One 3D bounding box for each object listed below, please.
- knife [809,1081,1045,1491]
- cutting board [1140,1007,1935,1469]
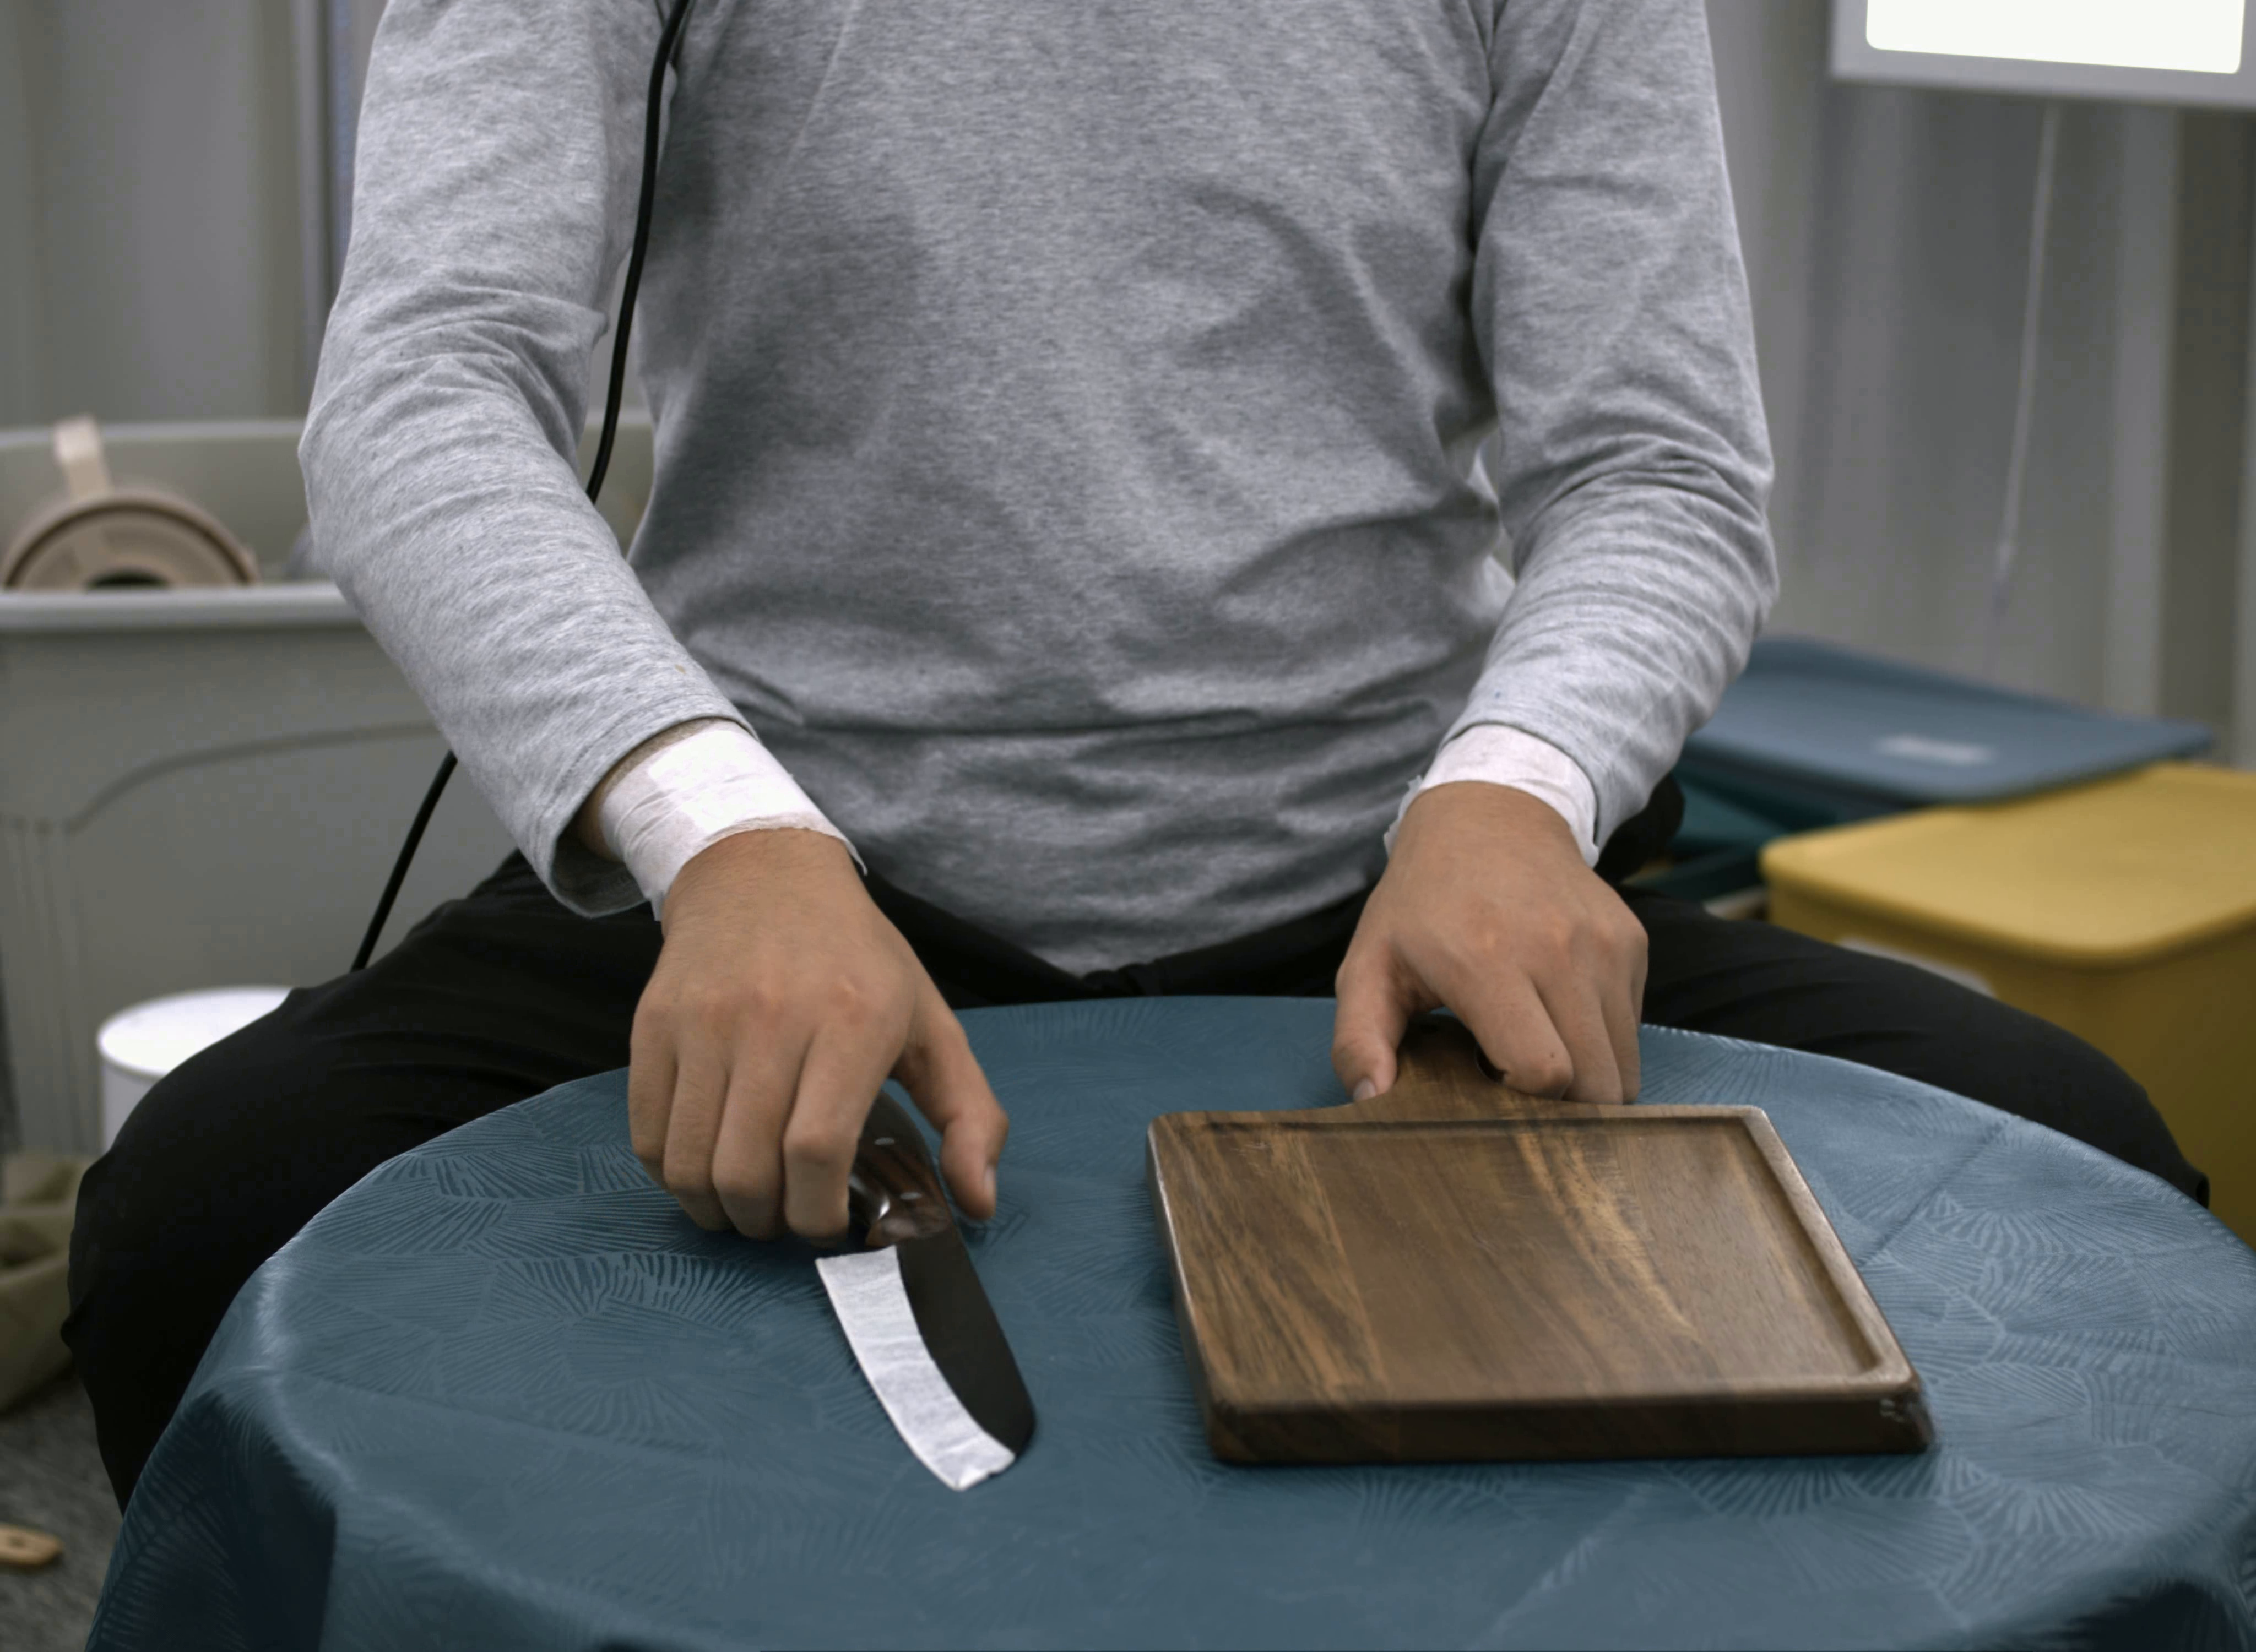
[{"bbox_3d":[-0.064,0.132,1.525,0.050,0.020,0.286,-7,19,-8],"label":"knife"},{"bbox_3d":[0.108,0.116,1.578,0.201,0.023,0.350,0,15,-4],"label":"cutting board"}]
